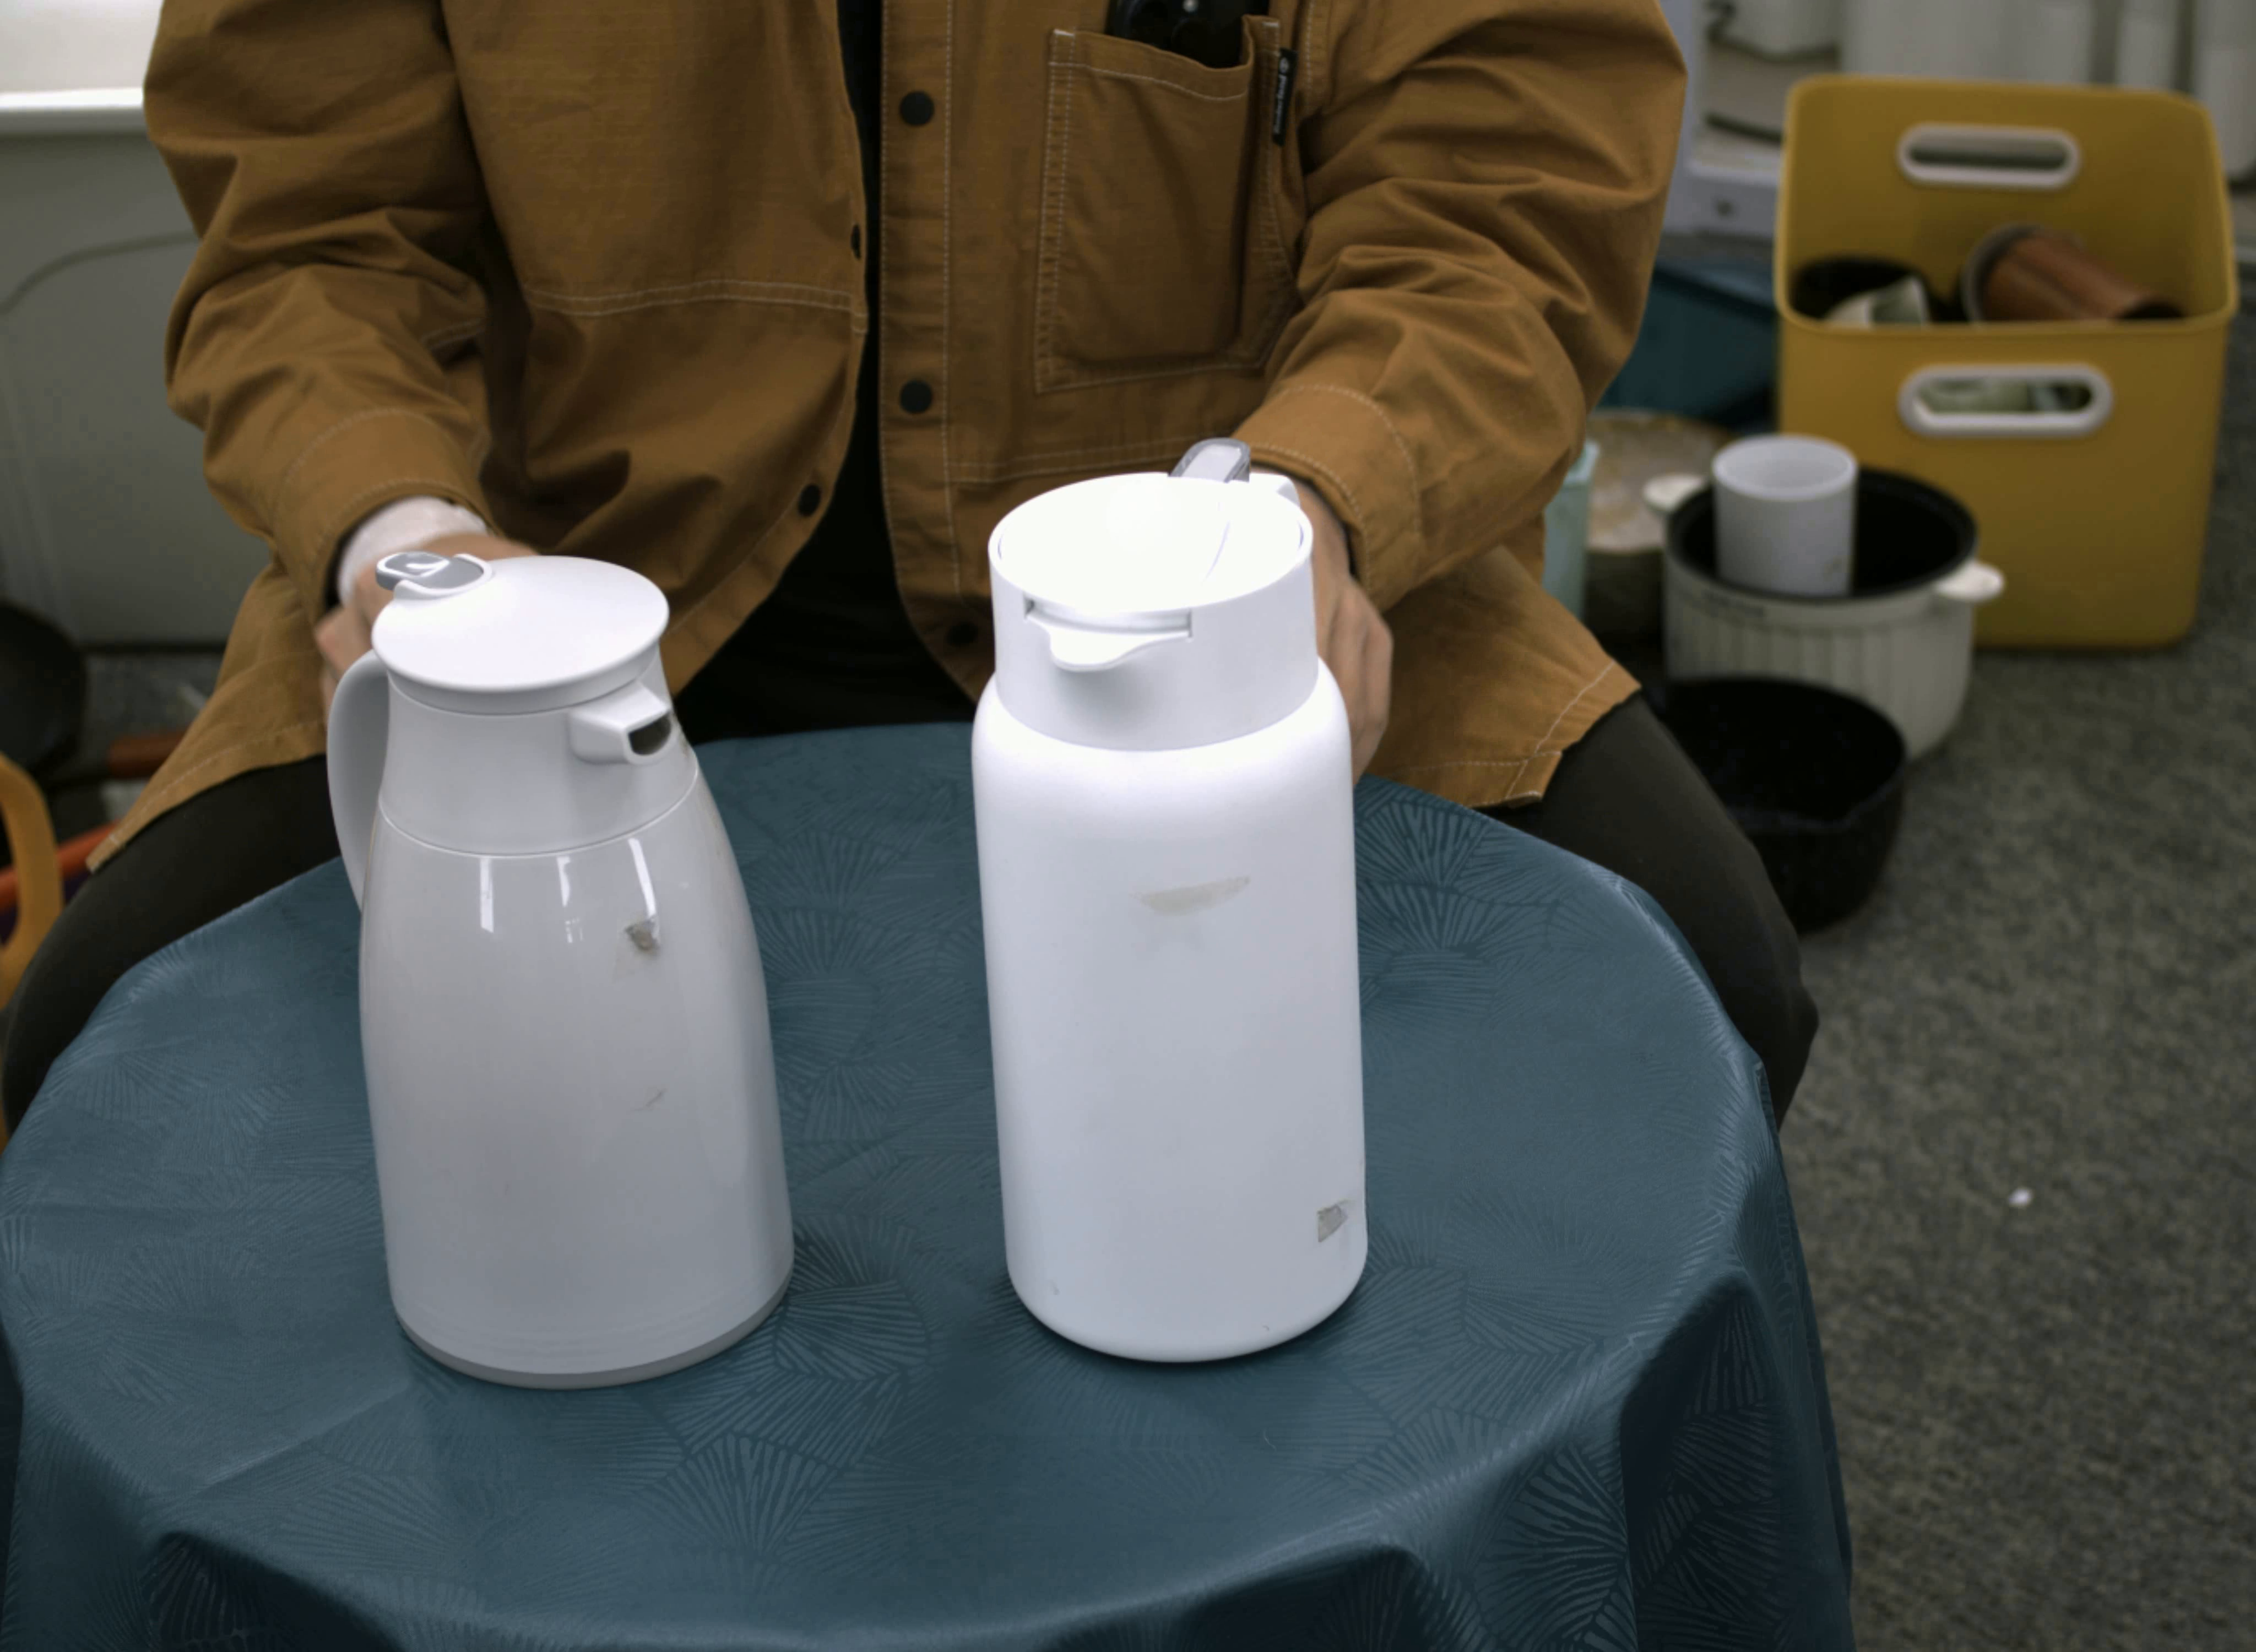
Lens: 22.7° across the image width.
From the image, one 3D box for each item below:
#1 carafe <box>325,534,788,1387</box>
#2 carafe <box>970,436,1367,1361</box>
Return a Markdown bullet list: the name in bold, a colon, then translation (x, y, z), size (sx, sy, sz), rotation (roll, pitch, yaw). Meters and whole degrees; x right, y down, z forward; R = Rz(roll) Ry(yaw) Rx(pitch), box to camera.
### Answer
- **carafe**: translation (-0.195, 0.032, 1.783), size (0.134, 0.246, 0.167), rotation (-25, 33, -38)
- **carafe**: translation (0.017, 0.019, 1.768), size (0.123, 0.266, 0.176), rotation (4, 27, 18)
